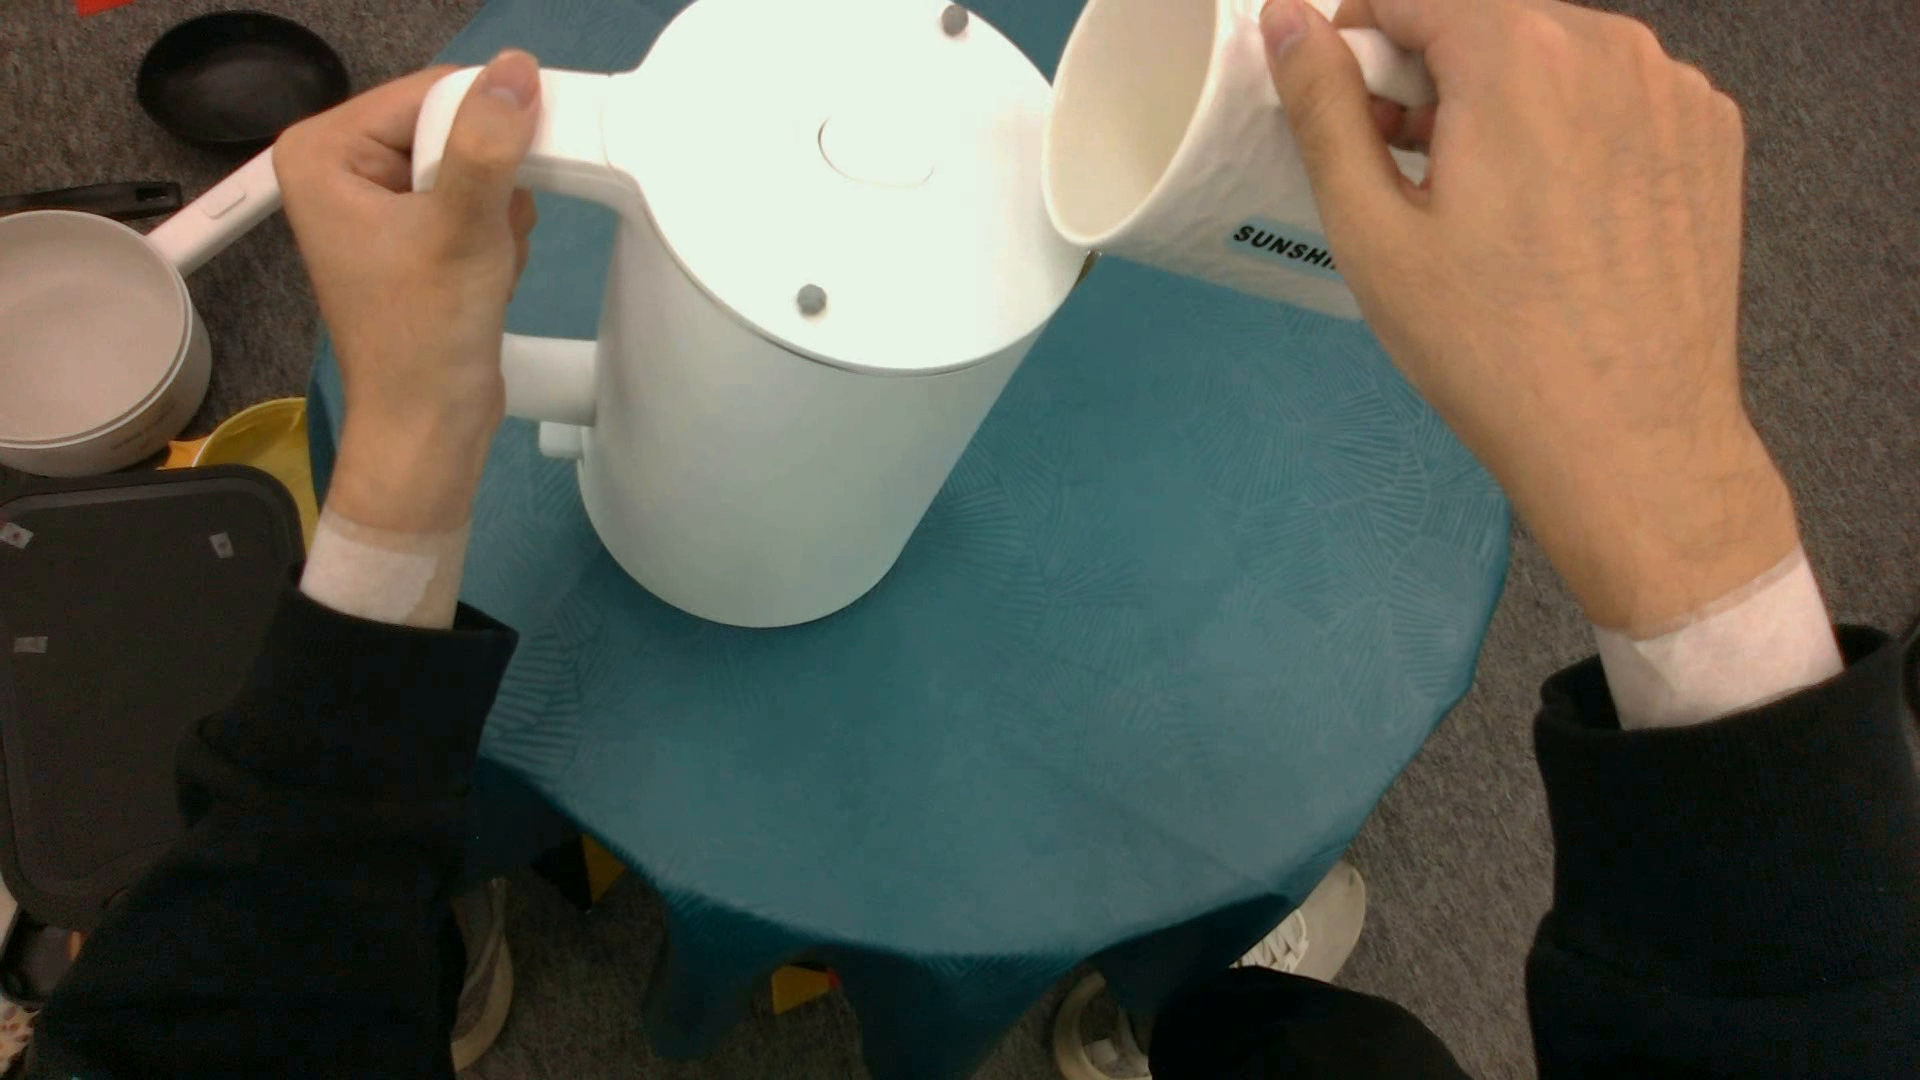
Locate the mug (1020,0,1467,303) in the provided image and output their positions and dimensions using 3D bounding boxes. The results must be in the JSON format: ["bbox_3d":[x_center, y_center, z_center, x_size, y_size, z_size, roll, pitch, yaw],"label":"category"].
[{"bbox_3d":[0.090,-0.119,0.387,0.102,0.118,0.085,10,91,-28],"label":"mug"}]

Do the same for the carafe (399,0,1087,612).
[{"bbox_3d":[-0.092,-0.084,0.509,0.213,0.239,0.152,4,67,-19],"label":"carafe"}]
